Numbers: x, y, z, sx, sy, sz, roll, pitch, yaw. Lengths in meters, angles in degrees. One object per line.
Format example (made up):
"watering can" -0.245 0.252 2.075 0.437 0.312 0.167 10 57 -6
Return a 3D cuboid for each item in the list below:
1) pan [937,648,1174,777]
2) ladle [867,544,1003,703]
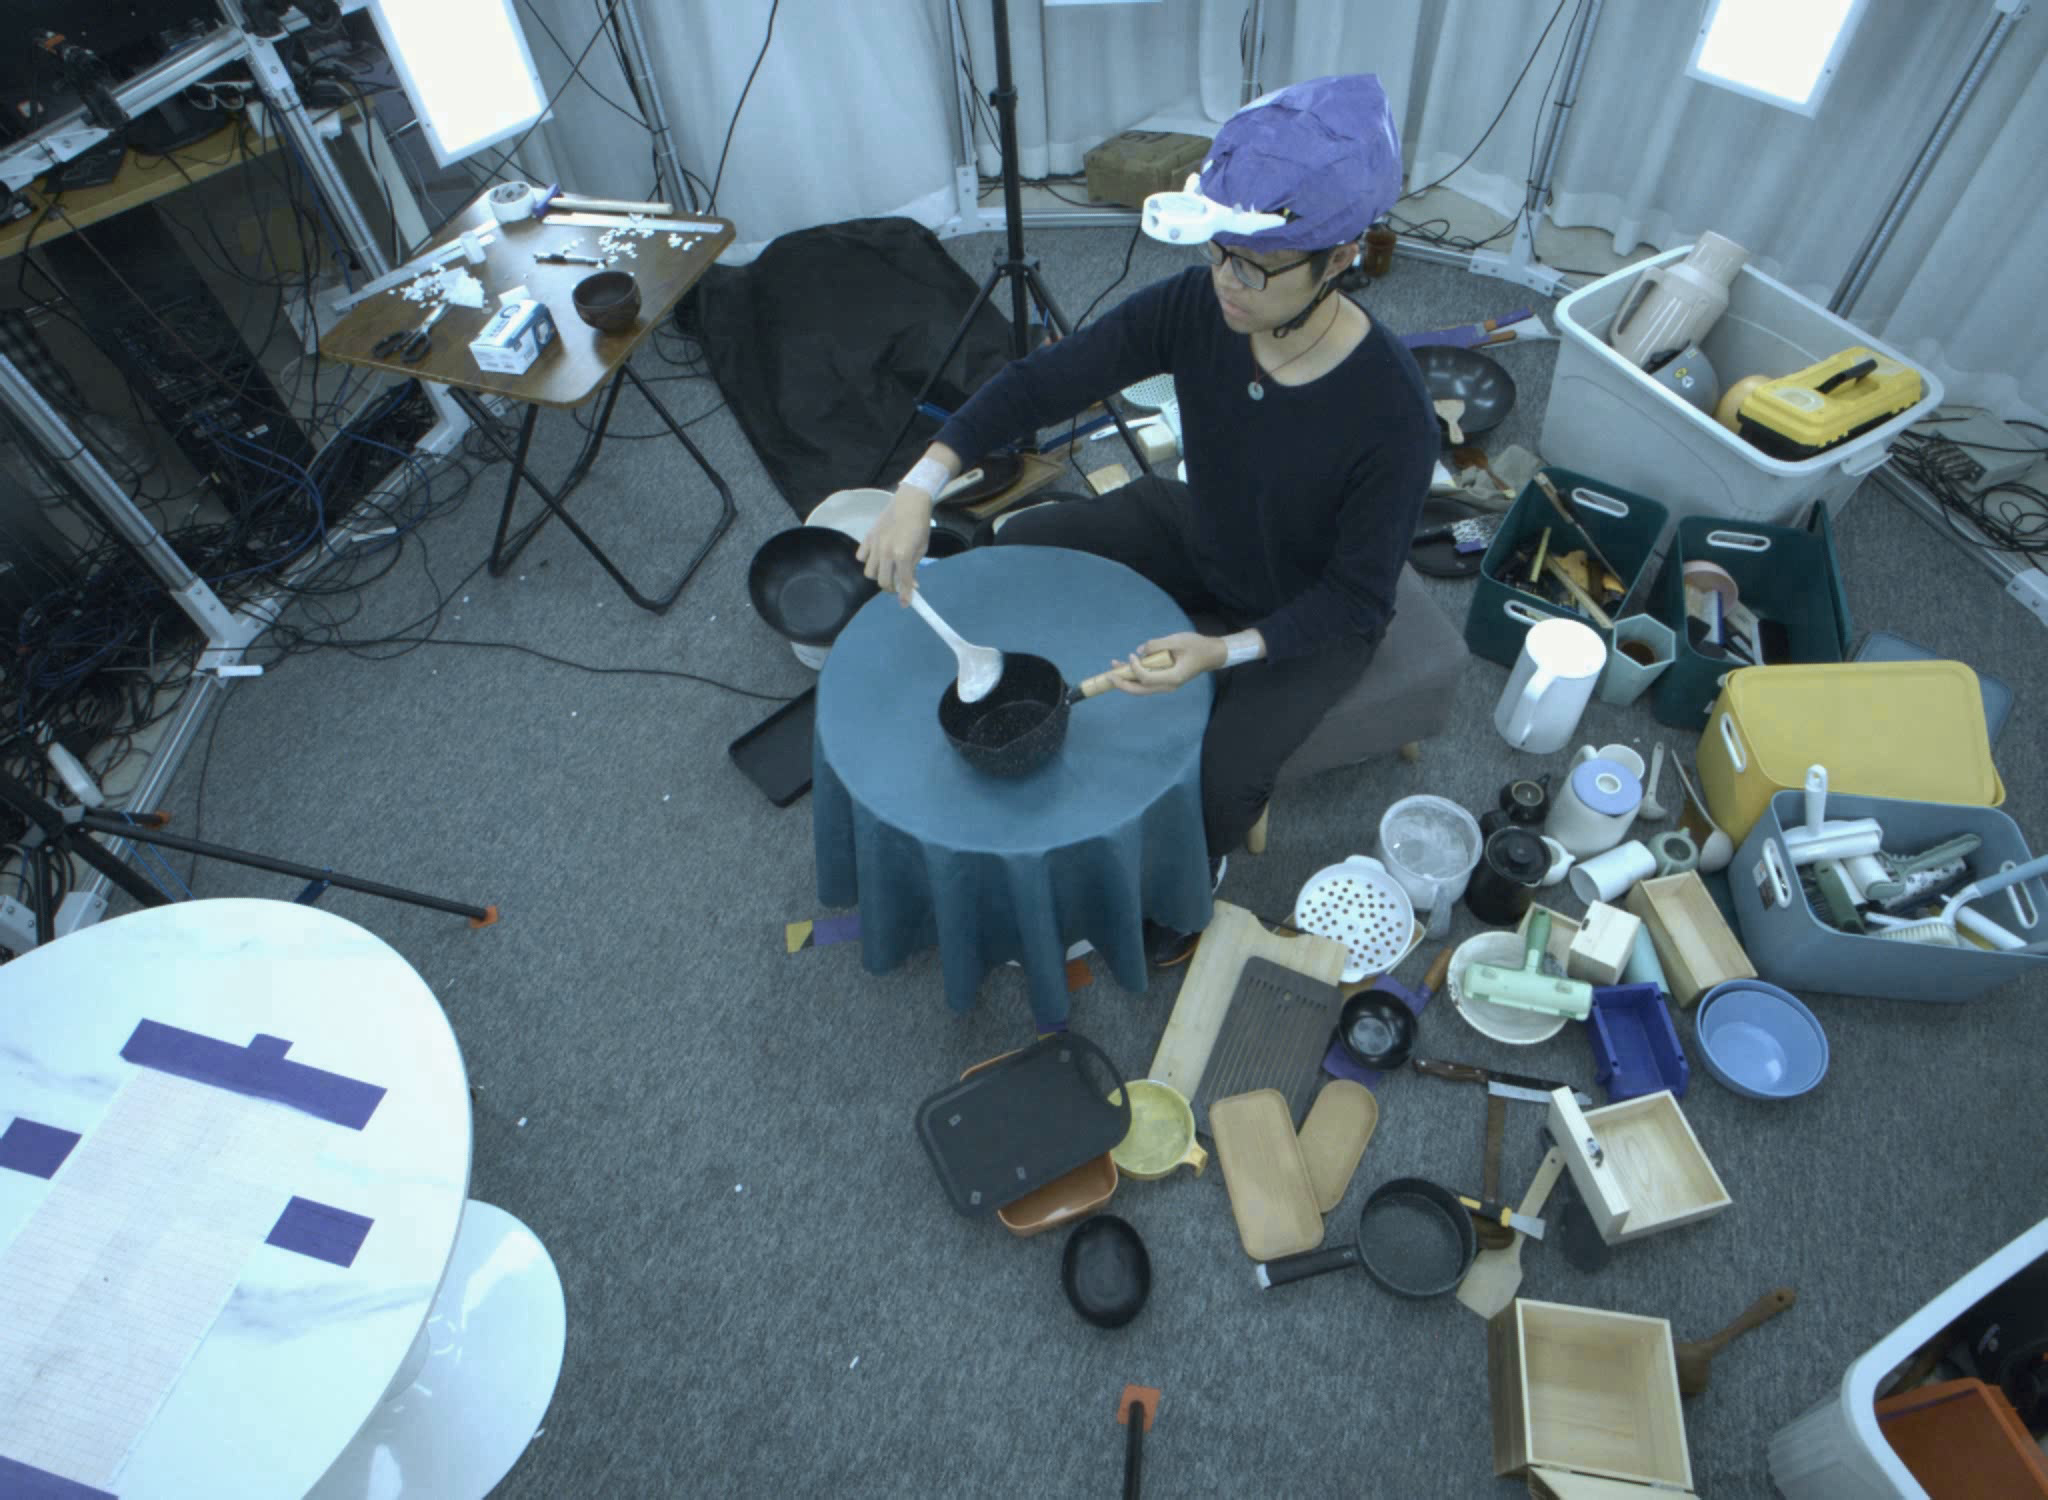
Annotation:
"pan" 0.050 -0.068 1.729 0.341 0.110 0.205 -12 45 10
"ladle" -0.139 -0.183 1.736 0.276 0.088 0.069 46 32 -5
